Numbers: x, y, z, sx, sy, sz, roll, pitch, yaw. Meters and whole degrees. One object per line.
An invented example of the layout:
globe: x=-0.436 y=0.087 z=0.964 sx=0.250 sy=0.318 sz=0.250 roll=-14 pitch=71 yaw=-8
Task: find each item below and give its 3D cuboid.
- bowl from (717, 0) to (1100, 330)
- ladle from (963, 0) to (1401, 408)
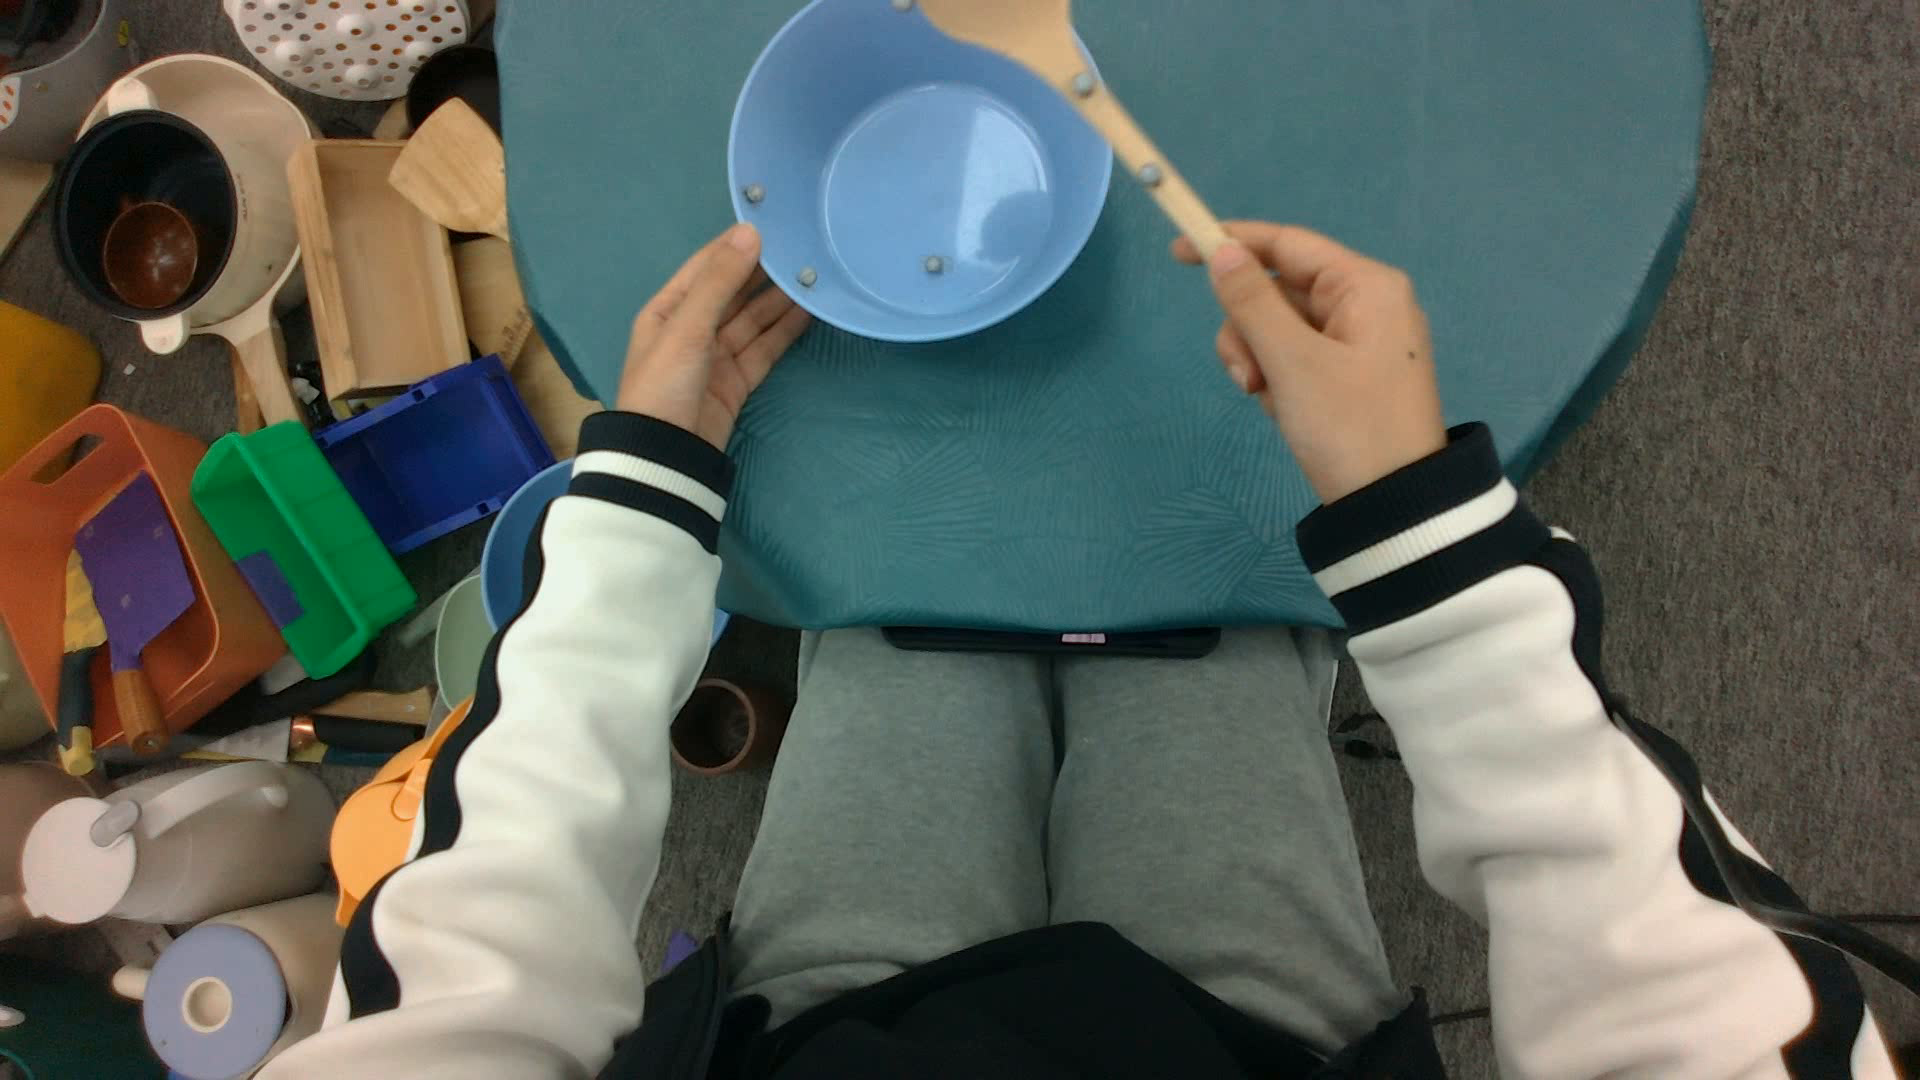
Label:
bowl: x=-0.021 y=-0.177 z=0.654 sx=0.176 sy=0.070 sz=0.176 roll=-1 pitch=82 yaw=7
ladle: x=0.074 y=-0.154 z=0.486 sx=0.072 sy=0.073 sz=0.255 roll=-36 pitch=75 yaw=9
